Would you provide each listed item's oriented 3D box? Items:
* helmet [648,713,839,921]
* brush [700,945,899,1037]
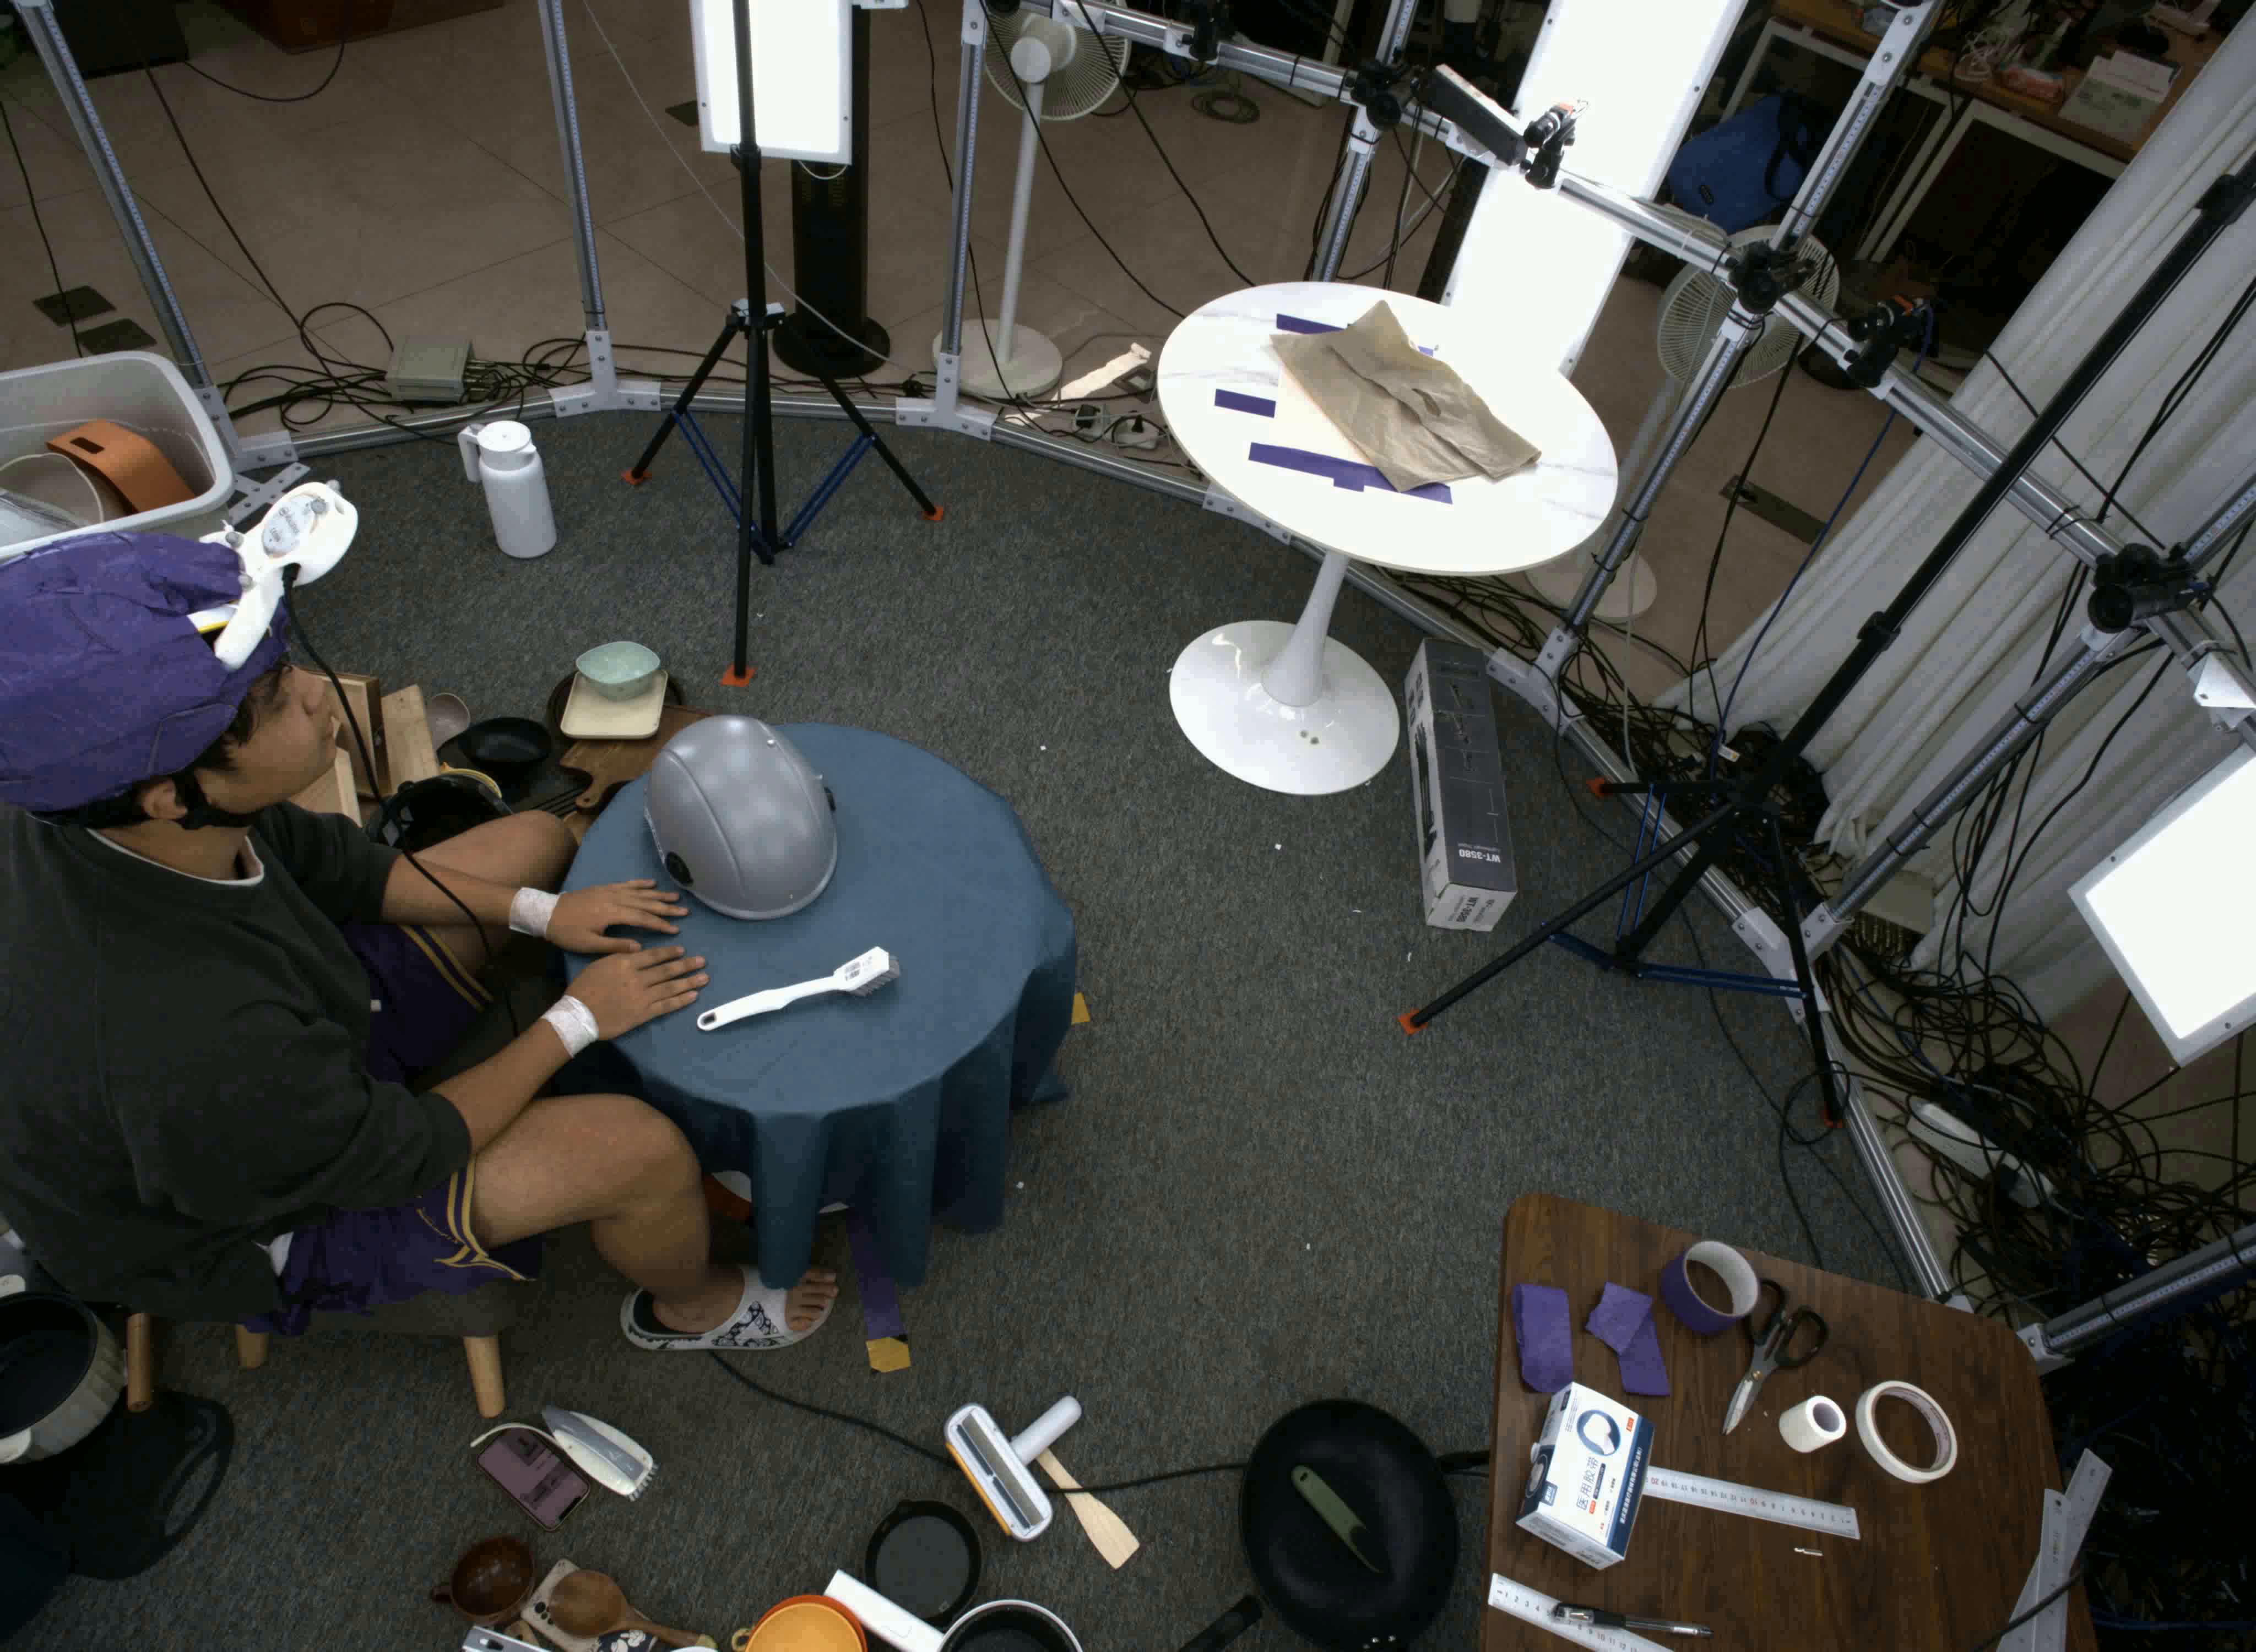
[{"bbox_3d":[-0.489,-0.035,1.633,0.233,0.172,0.270,-29,67,-30],"label":"helmet"},{"bbox_3d":[-0.395,0.206,1.568,0.243,0.052,0.033,-22,56,-13],"label":"brush"}]
